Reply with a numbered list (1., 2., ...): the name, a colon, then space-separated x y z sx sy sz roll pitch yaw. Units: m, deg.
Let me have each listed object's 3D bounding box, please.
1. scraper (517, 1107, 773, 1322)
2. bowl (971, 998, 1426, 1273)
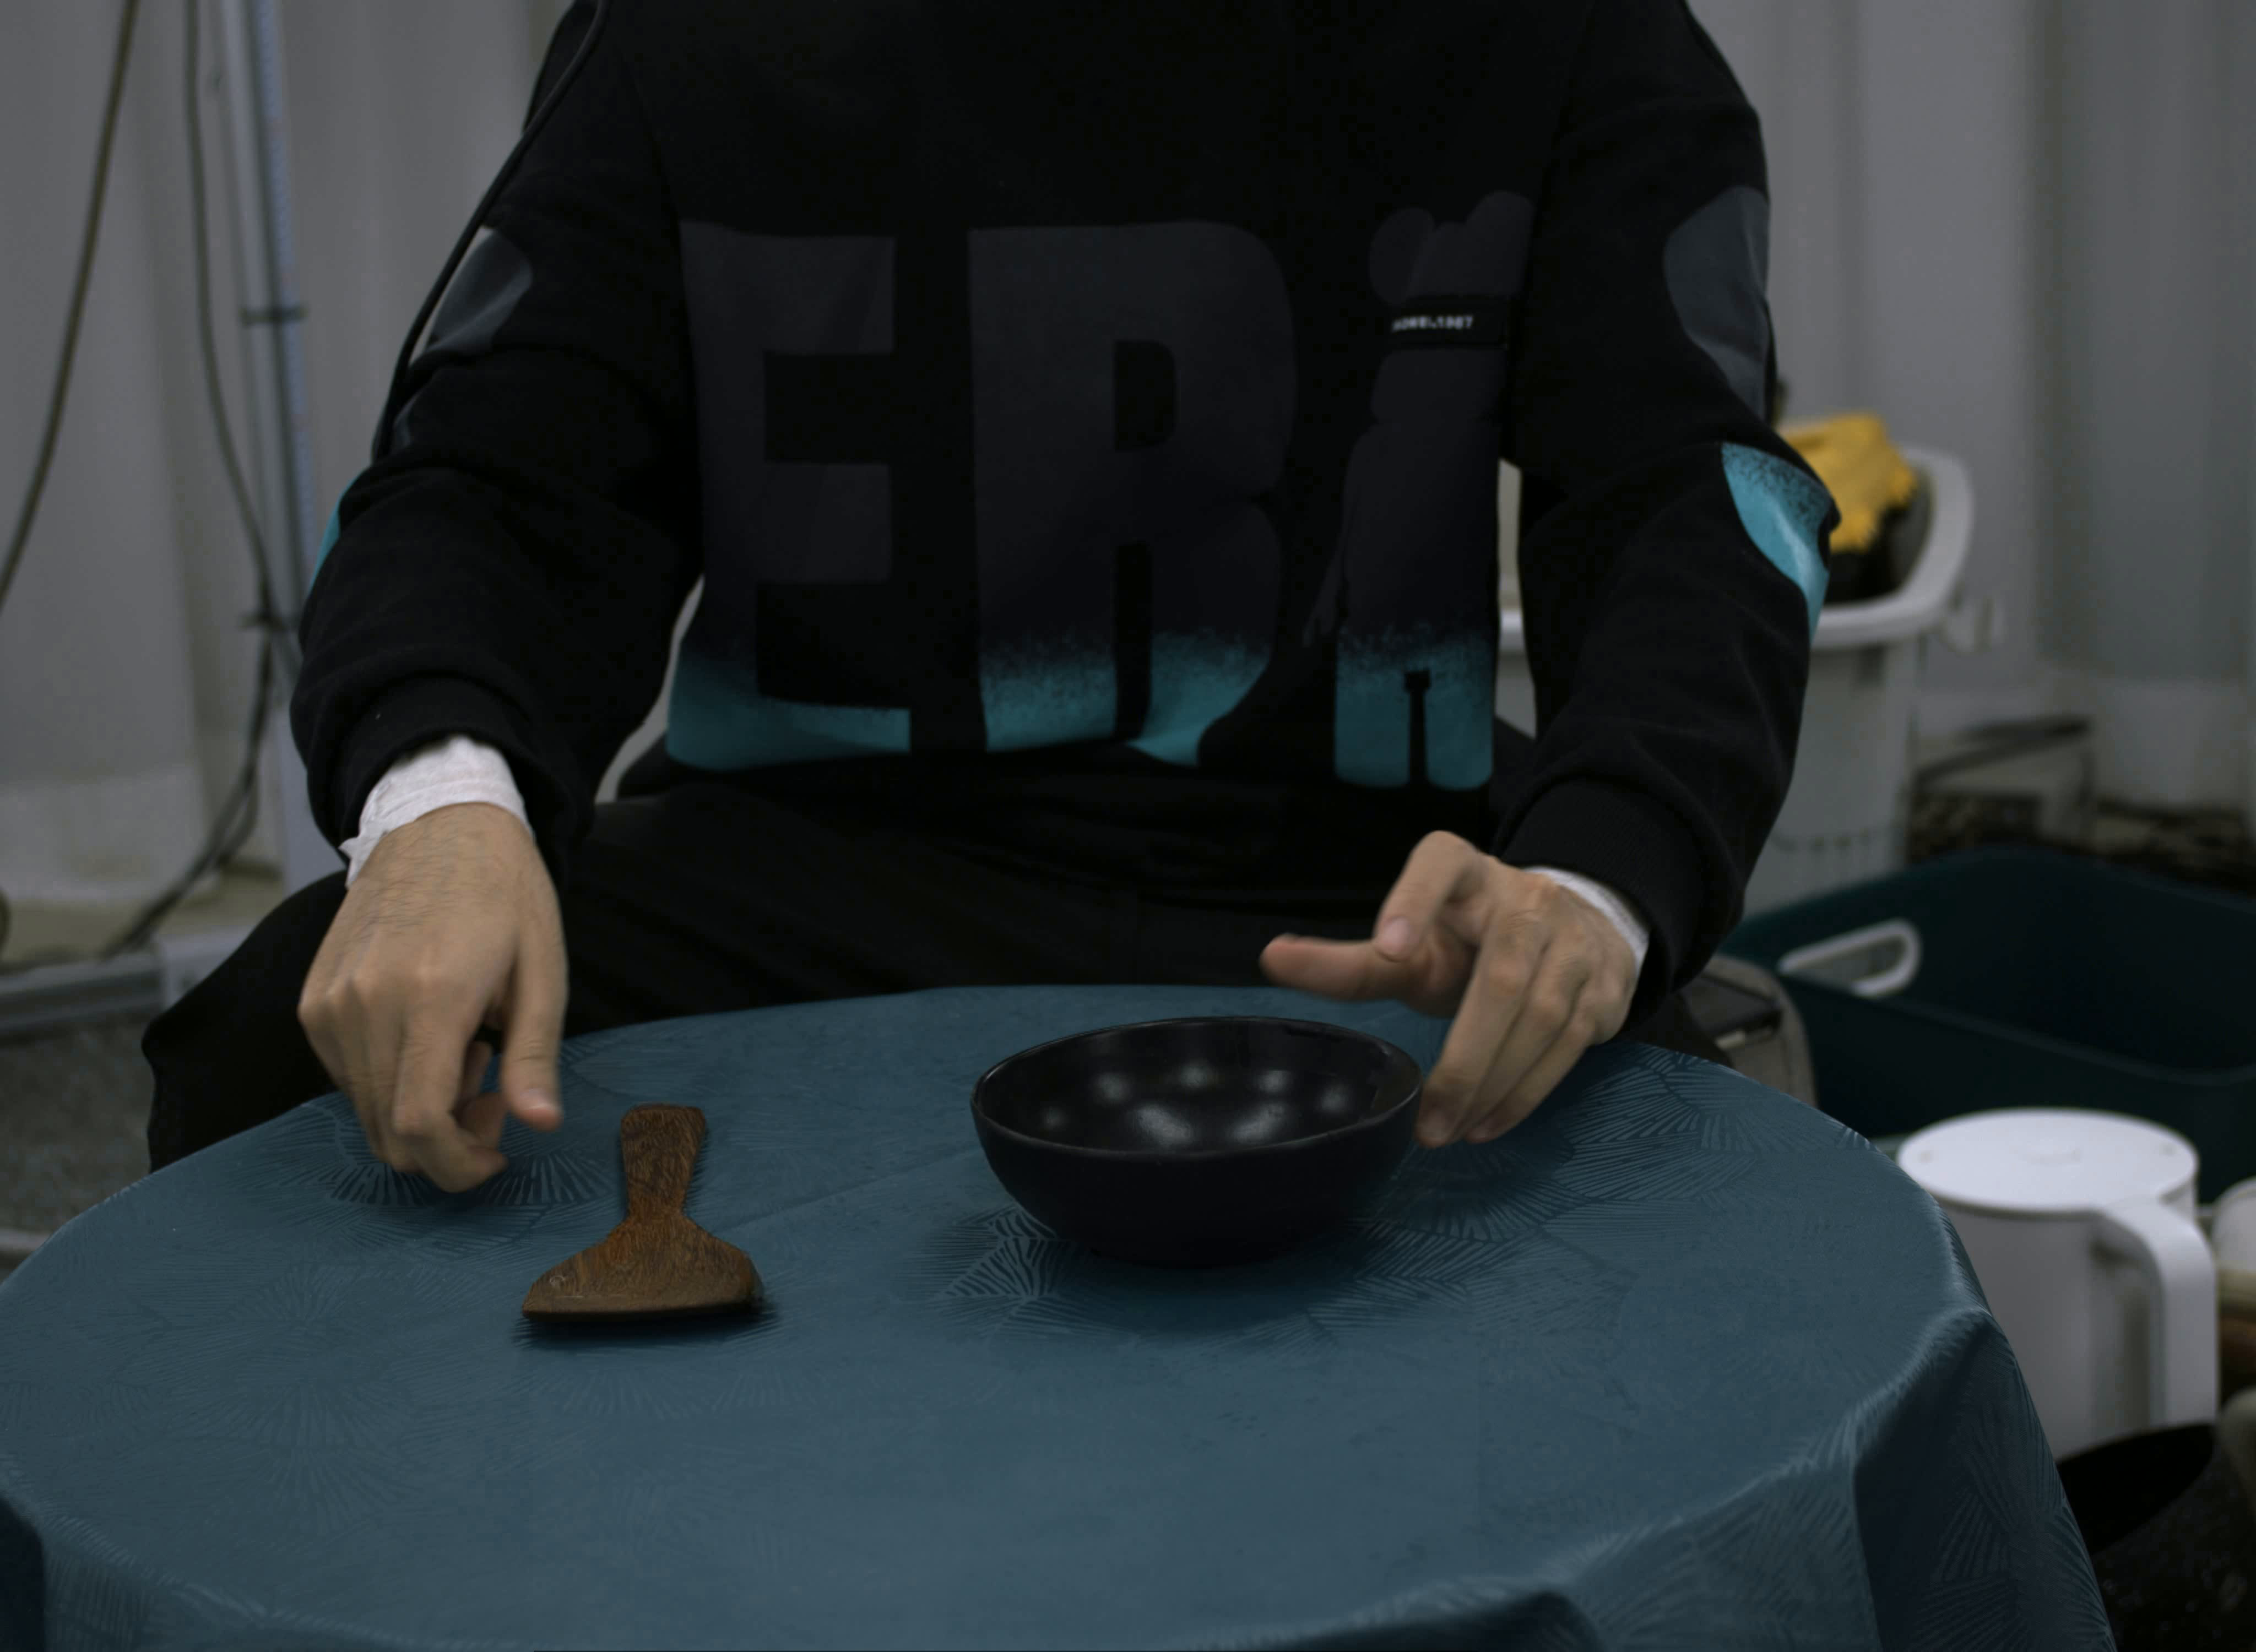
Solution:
1. scraper: -0.147 0.121 1.705 0.075 0.011 0.213 -2 14 -3
2. bowl: 0.023 0.100 1.666 0.139 0.049 0.141 -5 18 1
